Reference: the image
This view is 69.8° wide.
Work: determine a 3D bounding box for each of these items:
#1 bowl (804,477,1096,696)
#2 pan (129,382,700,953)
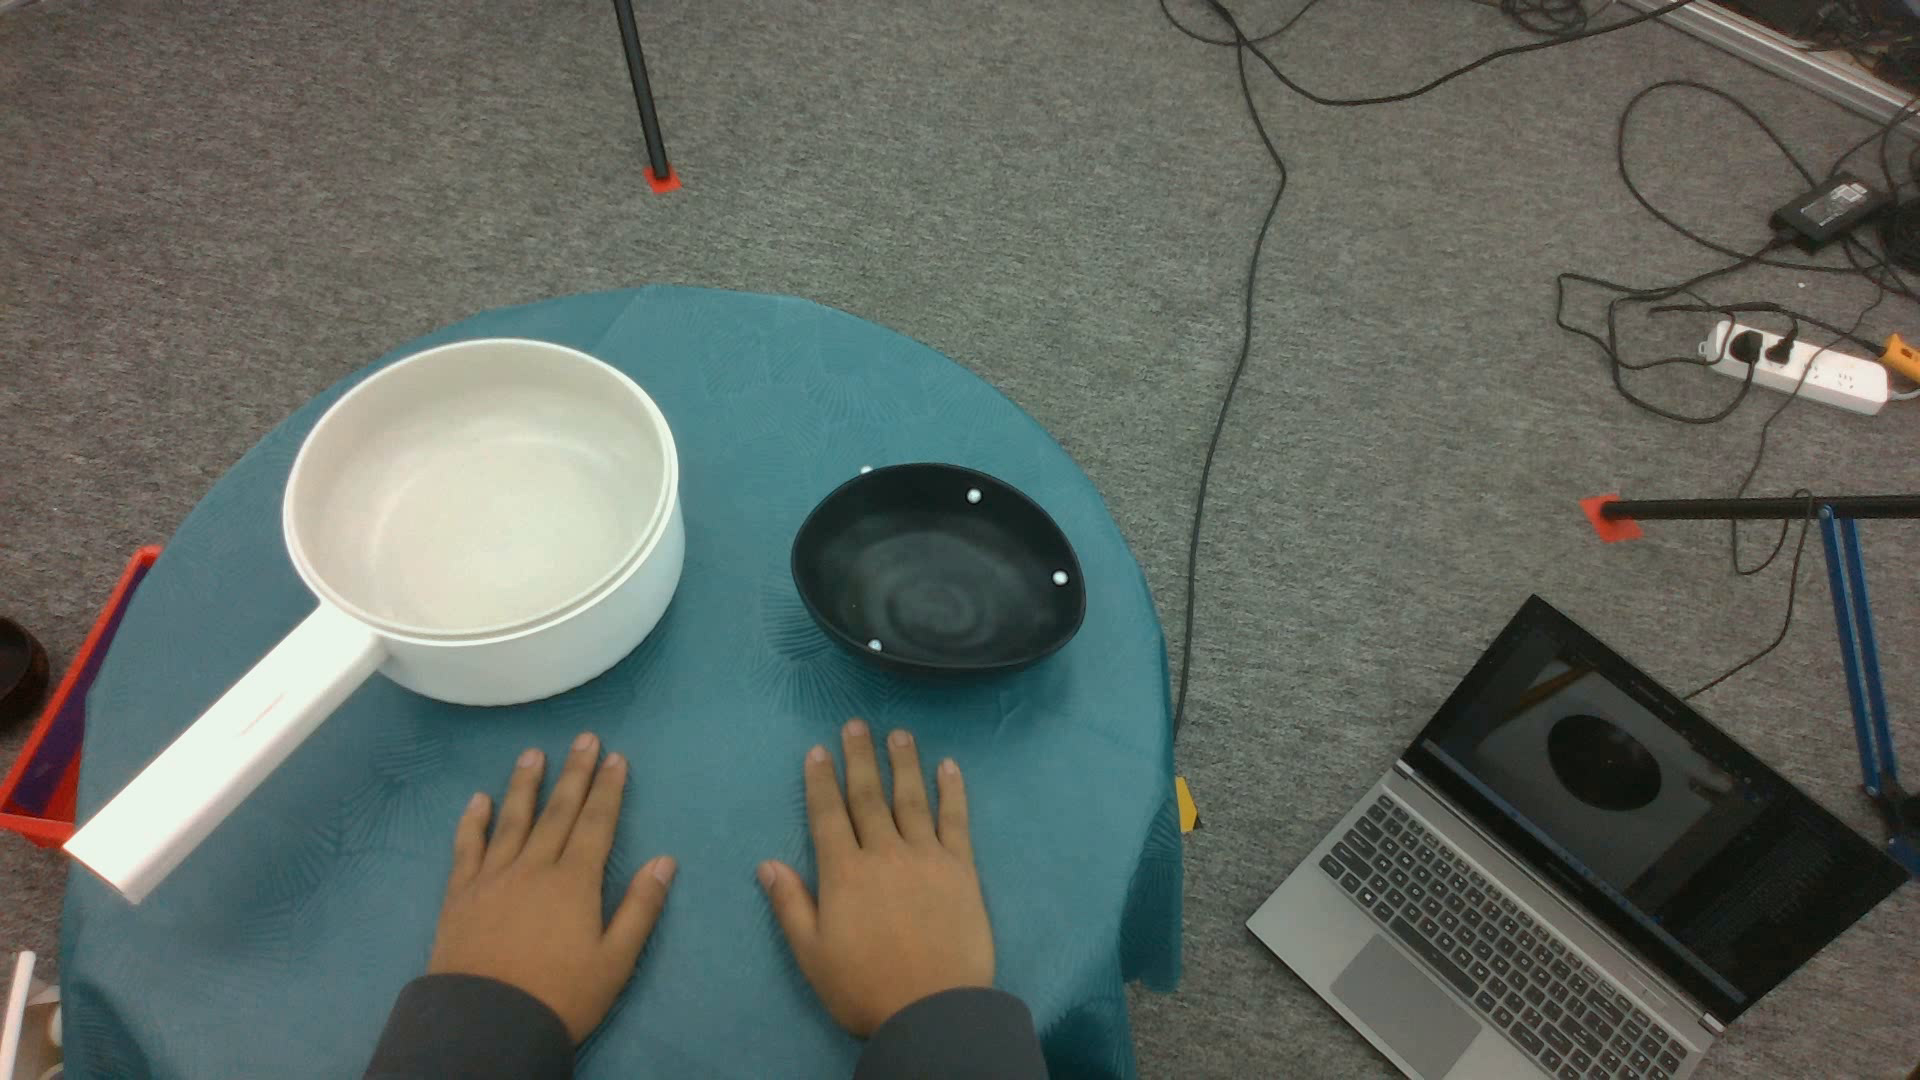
[{"bbox_3d":[-0.005,0.036,0.806,0.170,0.066,0.138,10,56,3],"label":"bowl"},{"bbox_3d":[-0.289,0.072,0.761,0.201,0.101,0.356,27,60,12],"label":"pan"}]
